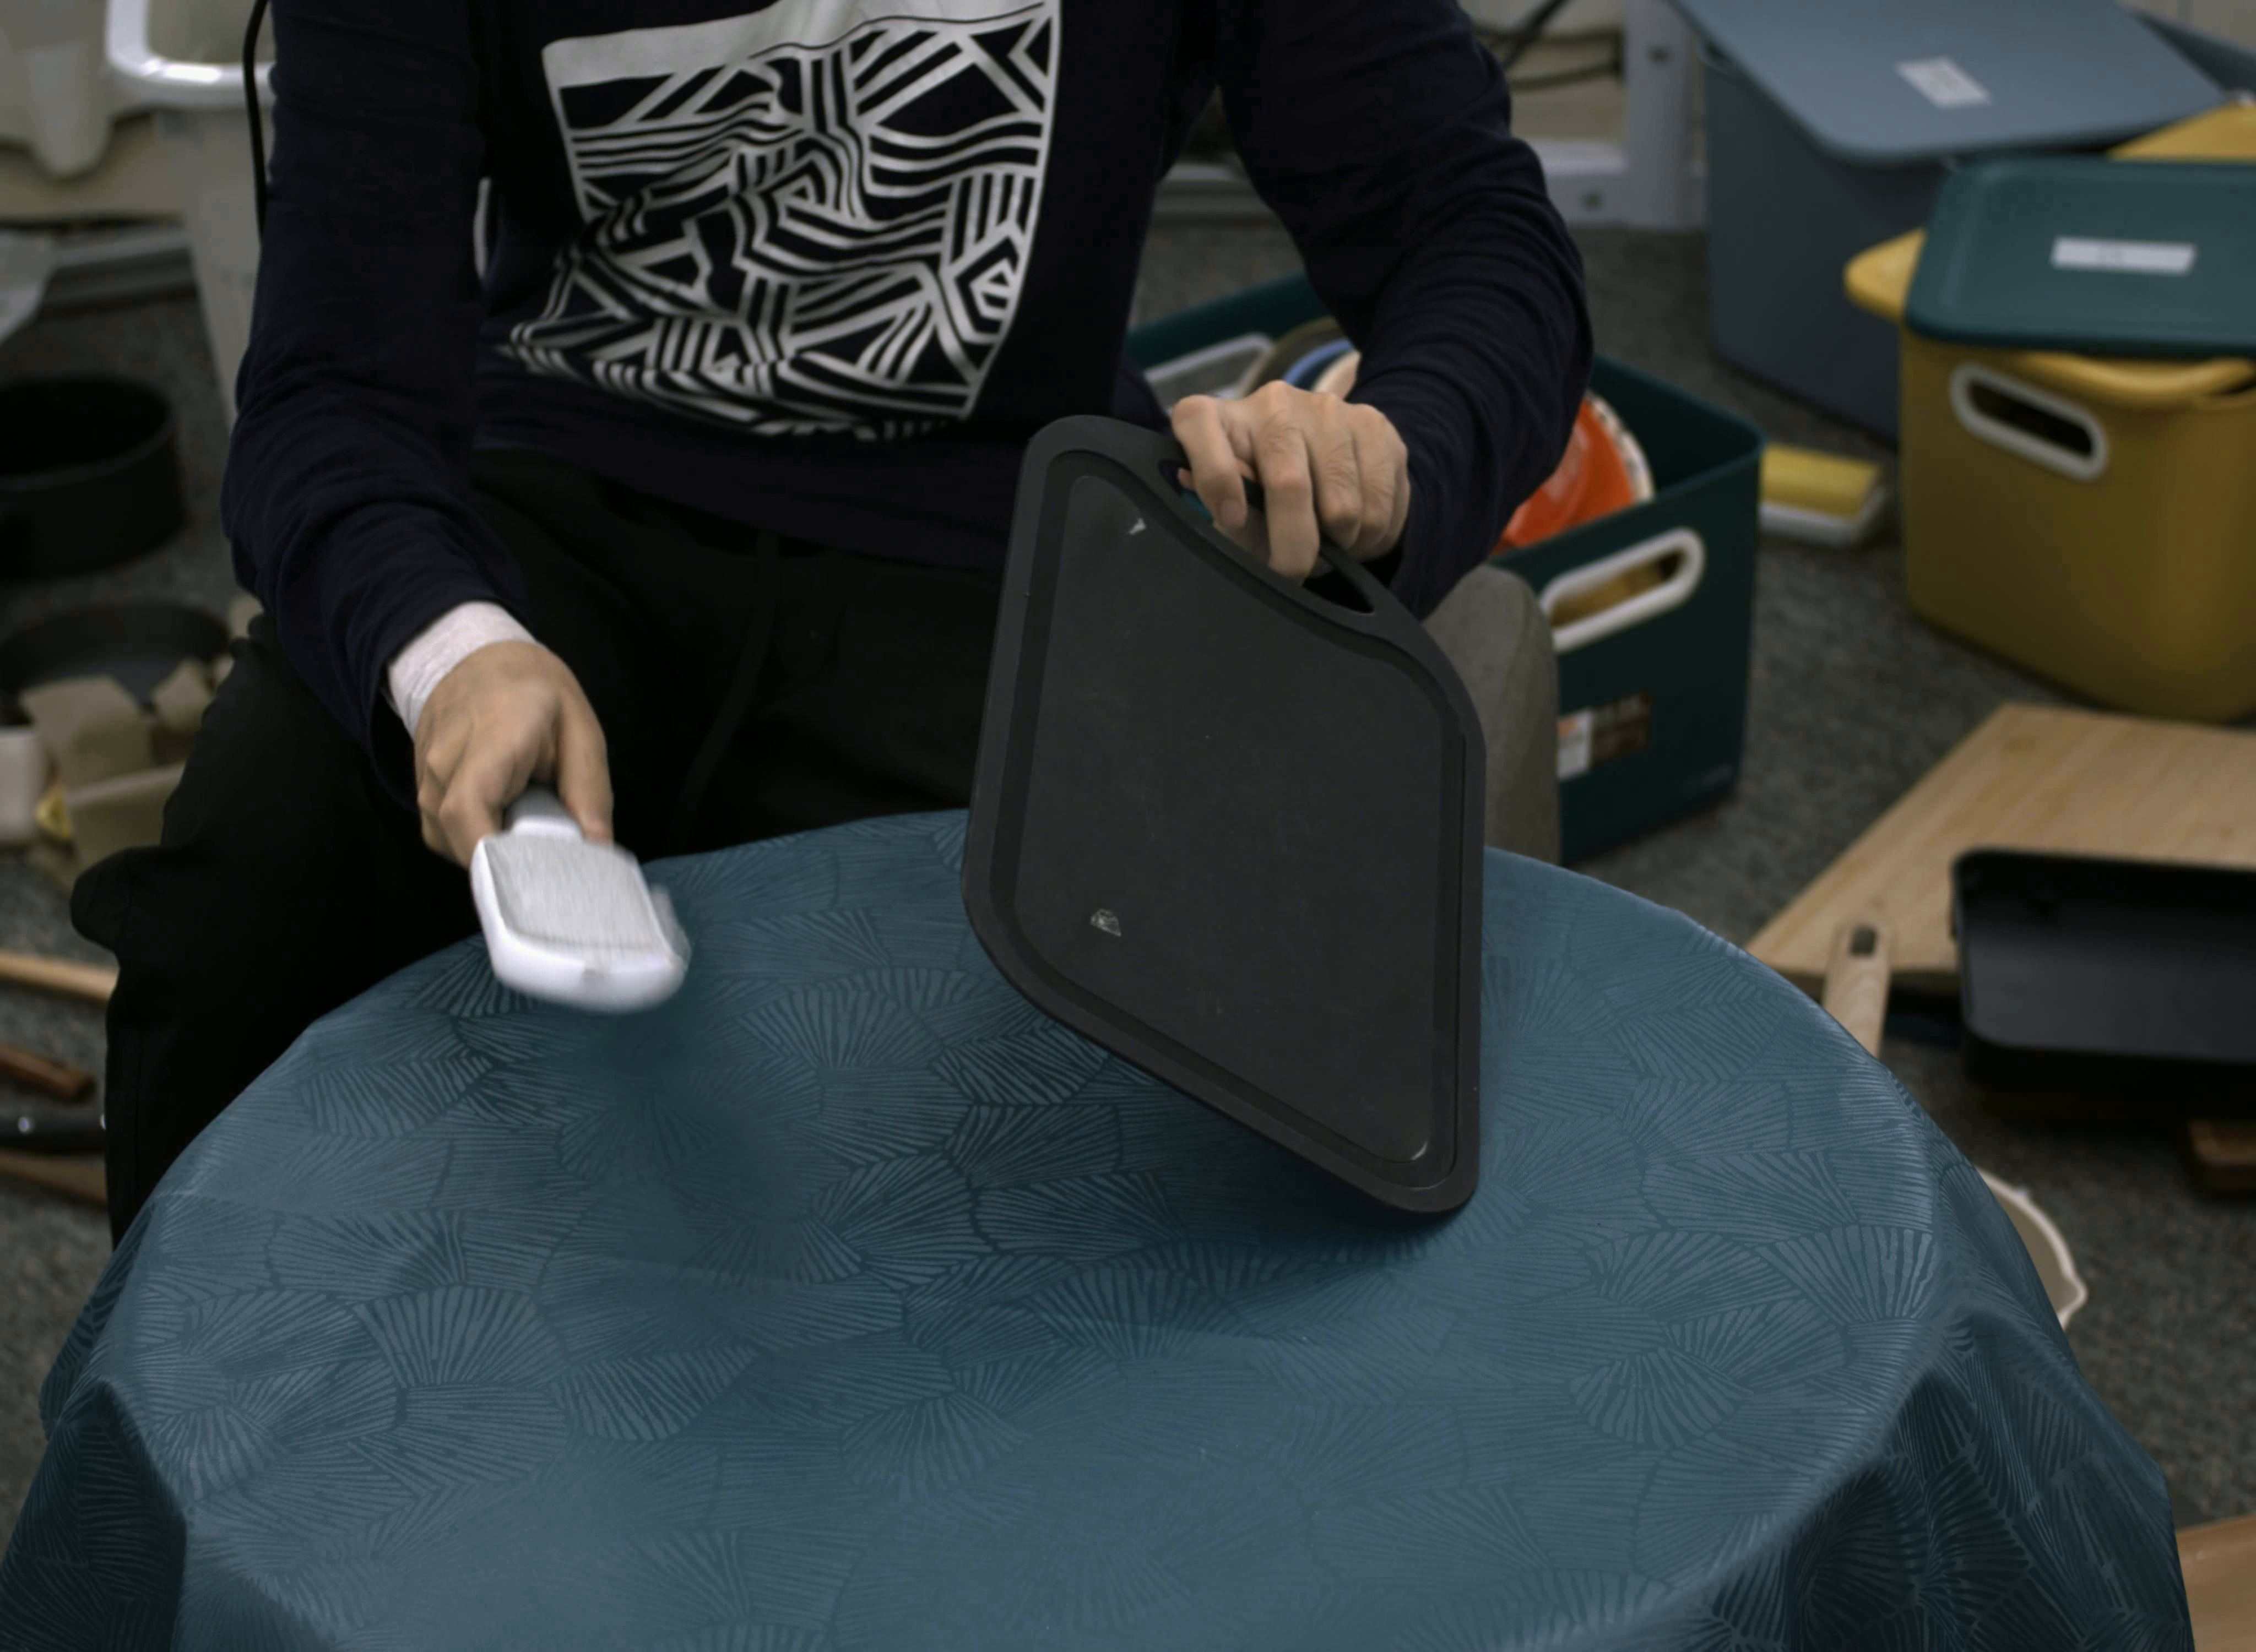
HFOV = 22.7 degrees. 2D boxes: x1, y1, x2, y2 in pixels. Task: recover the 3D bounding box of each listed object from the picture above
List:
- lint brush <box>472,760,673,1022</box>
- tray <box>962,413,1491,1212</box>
[{"bbox_3d":[-0.191,0.019,1.890,0.060,0.021,0.310,8,11,-12],"label":"lint brush"},{"bbox_3d":[0.039,-0.017,1.920,0.210,0.009,0.332,32,35,-19],"label":"tray"}]
